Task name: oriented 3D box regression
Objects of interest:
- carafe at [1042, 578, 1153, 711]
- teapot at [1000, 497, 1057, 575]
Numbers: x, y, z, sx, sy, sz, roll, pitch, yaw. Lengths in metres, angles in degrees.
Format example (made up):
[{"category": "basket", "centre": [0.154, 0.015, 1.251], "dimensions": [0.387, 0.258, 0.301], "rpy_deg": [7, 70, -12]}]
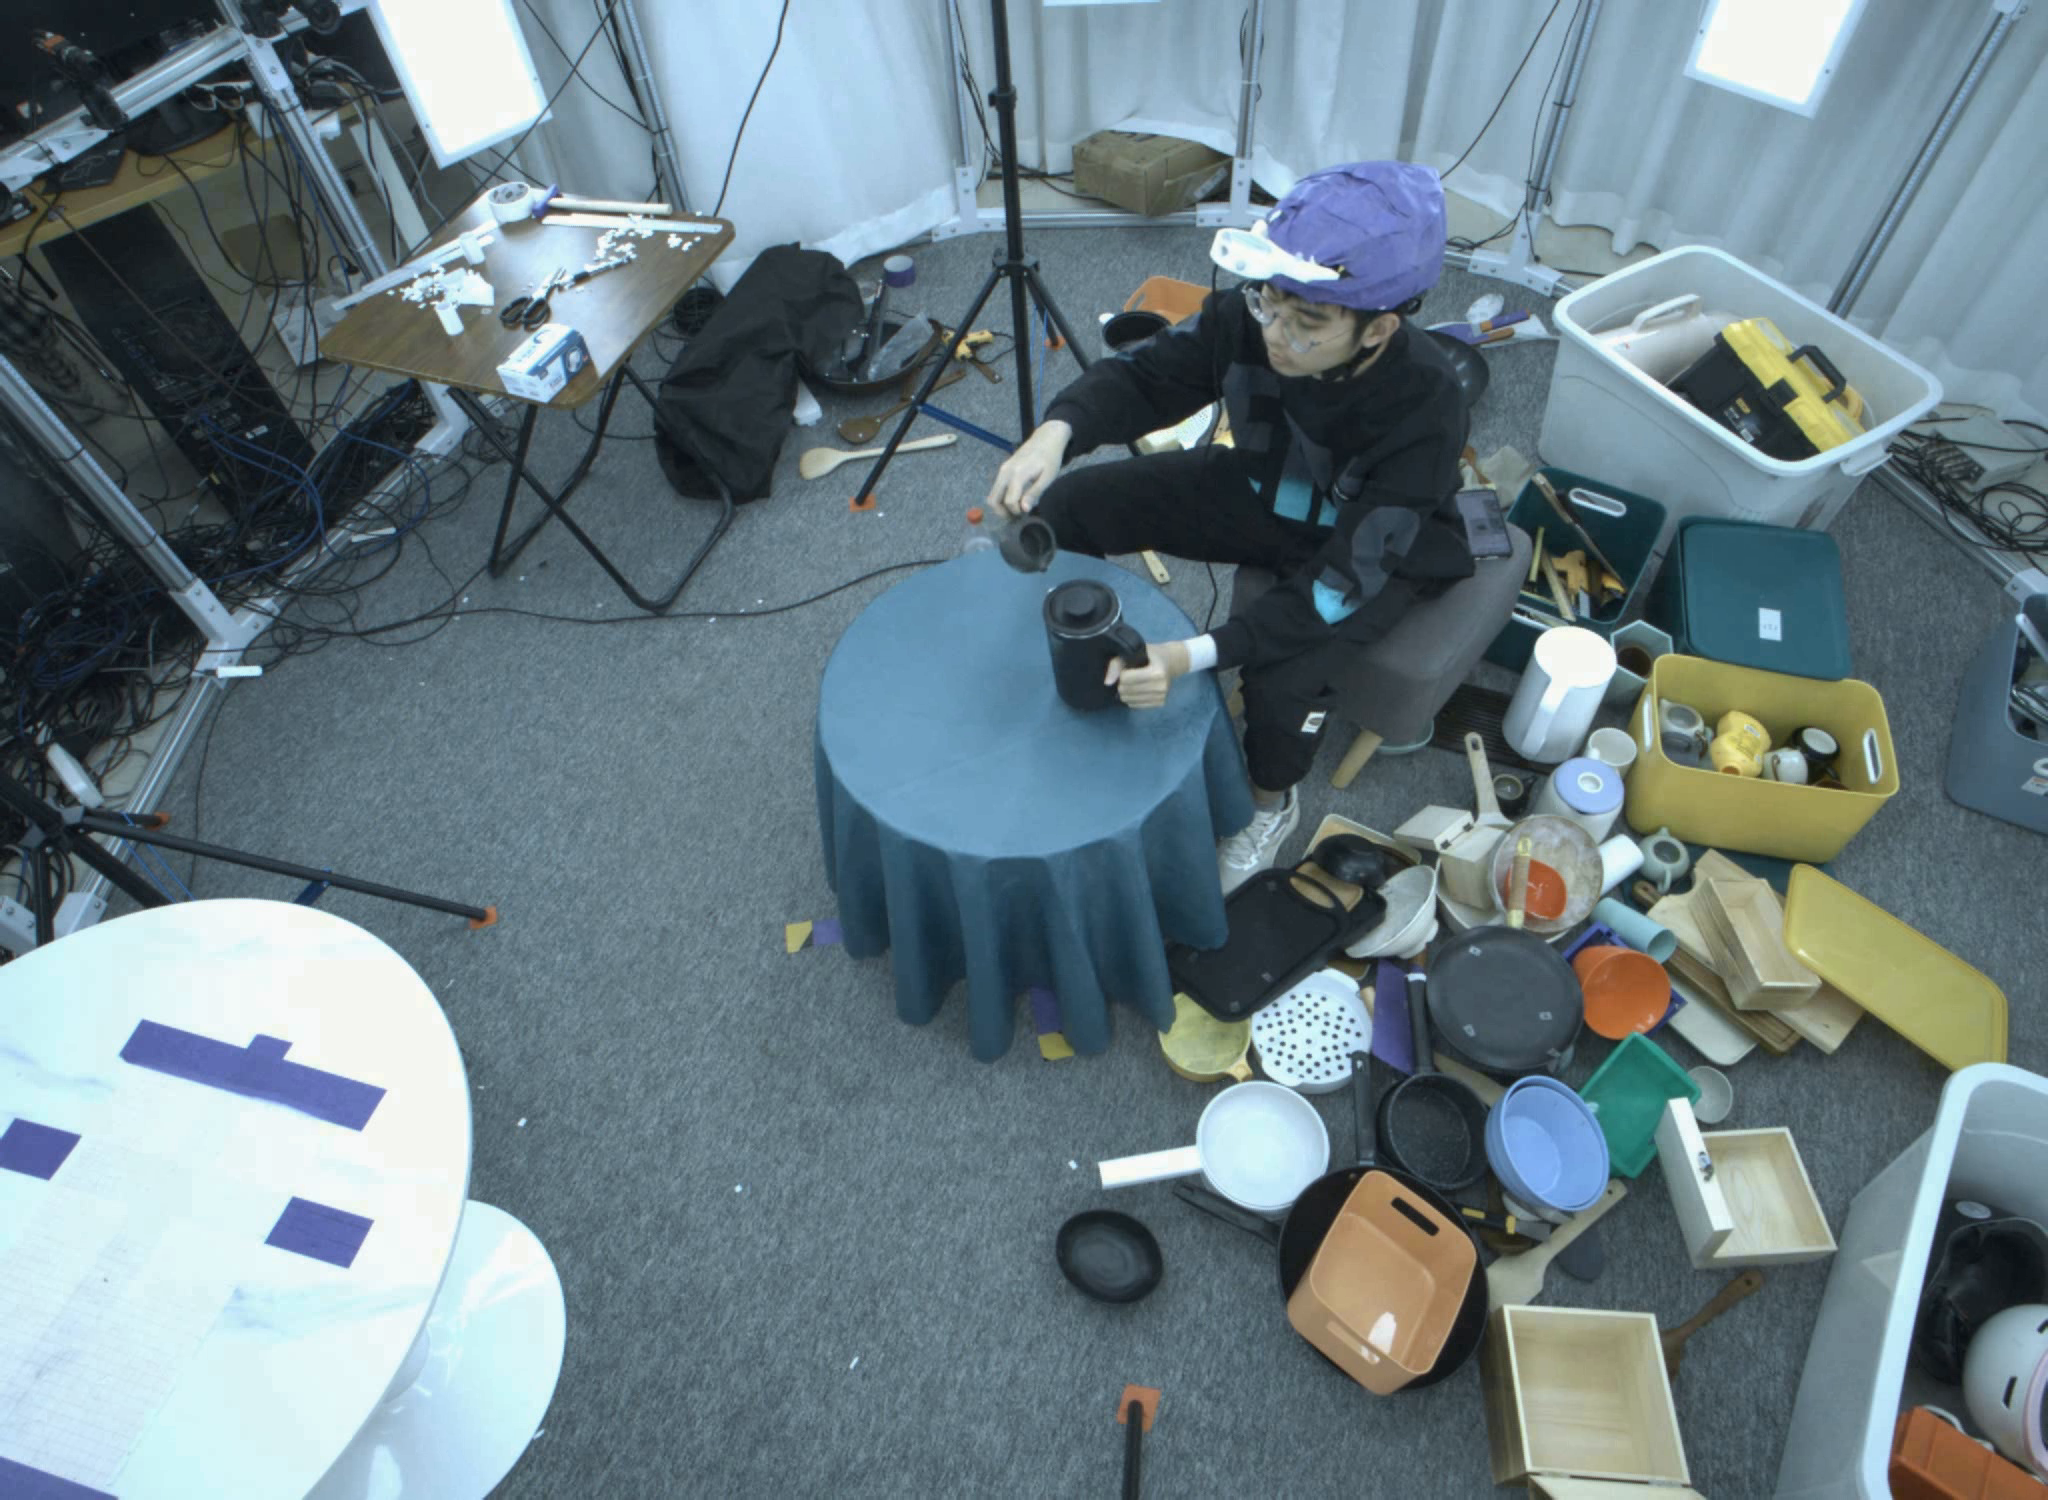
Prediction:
[{"category": "carafe", "centre": [0.106, -0.142, 1.740], "dimensions": [0.168, 0.176, 0.115], "rpy_deg": [32, 63, 30]}, {"category": "teapot", "centre": [0.004, -0.297, 1.708], "dimensions": [0.084, 0.052, 0.114], "rpy_deg": [-19, 100, -25]}]
